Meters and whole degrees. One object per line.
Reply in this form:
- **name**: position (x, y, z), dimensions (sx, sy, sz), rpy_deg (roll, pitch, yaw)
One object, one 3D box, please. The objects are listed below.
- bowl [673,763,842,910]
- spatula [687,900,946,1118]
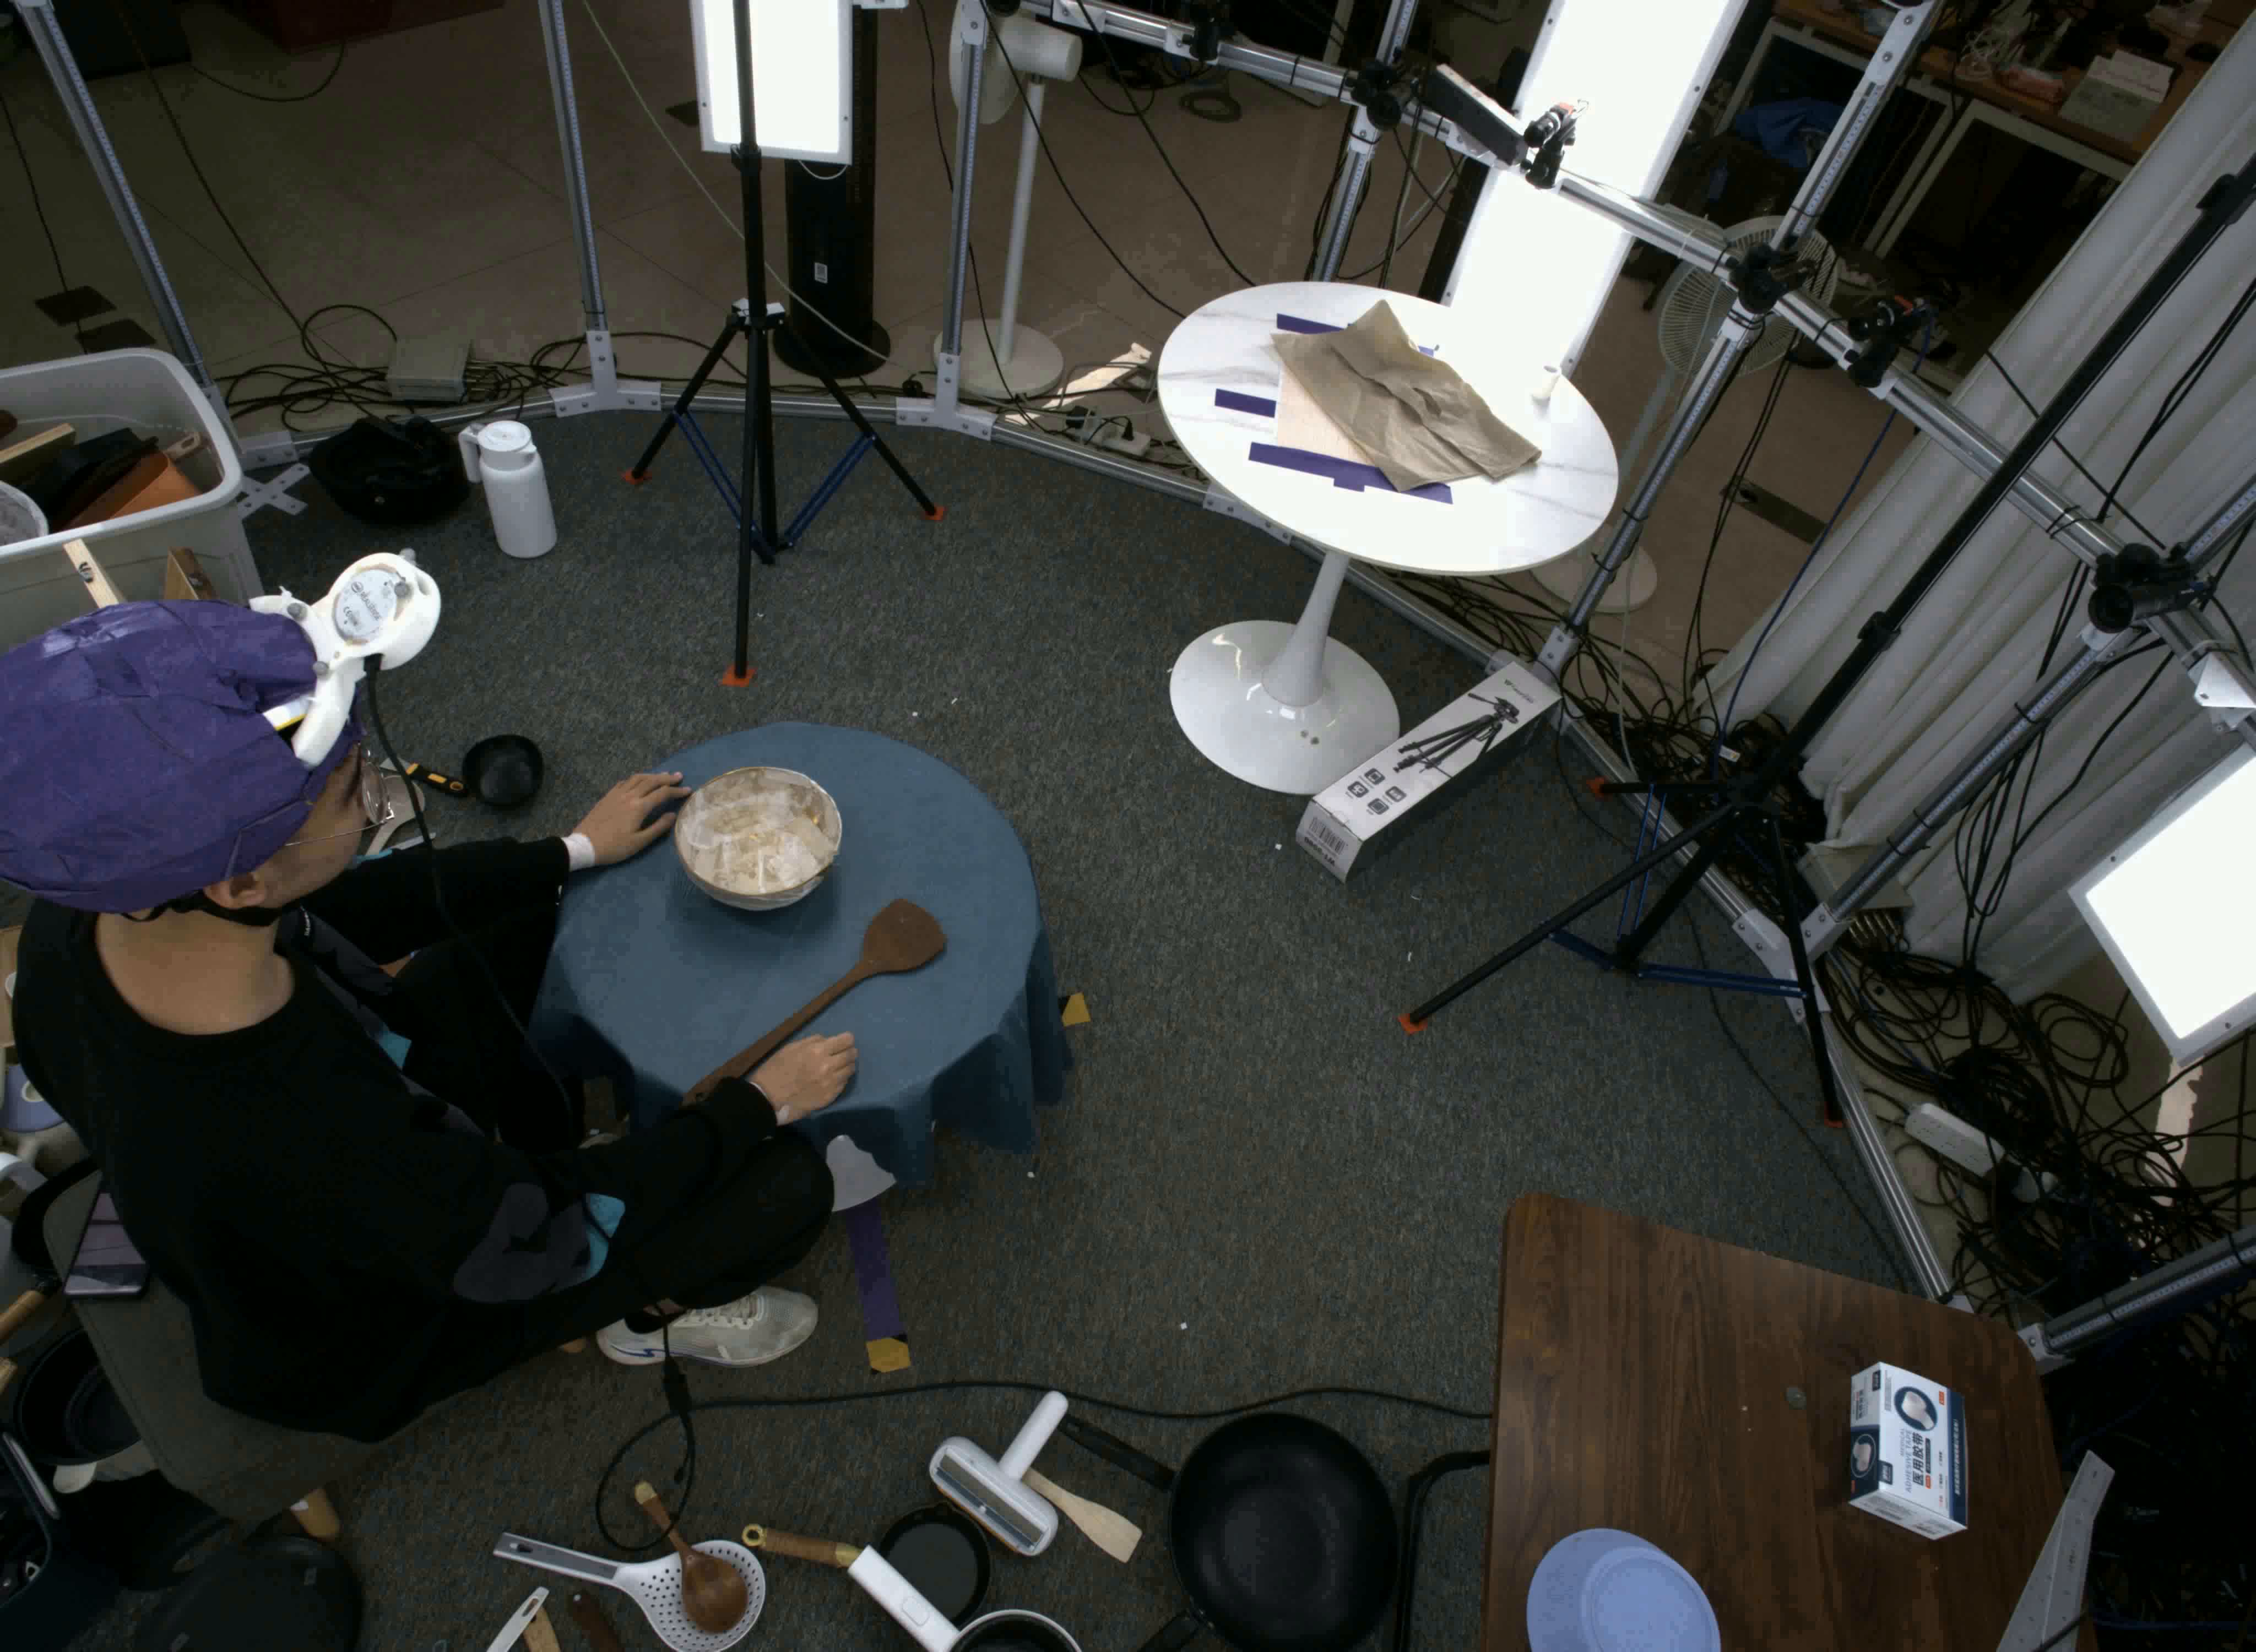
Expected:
- **bowl**: position (-0.468, 0.027, 1.638), dimensions (0.214, 0.096, 0.211), rpy_deg (7, 54, -9)
- **spatula**: position (-0.378, 0.219, 1.570), dimensions (0.094, 0.016, 0.386), rpy_deg (39, 55, 16)
